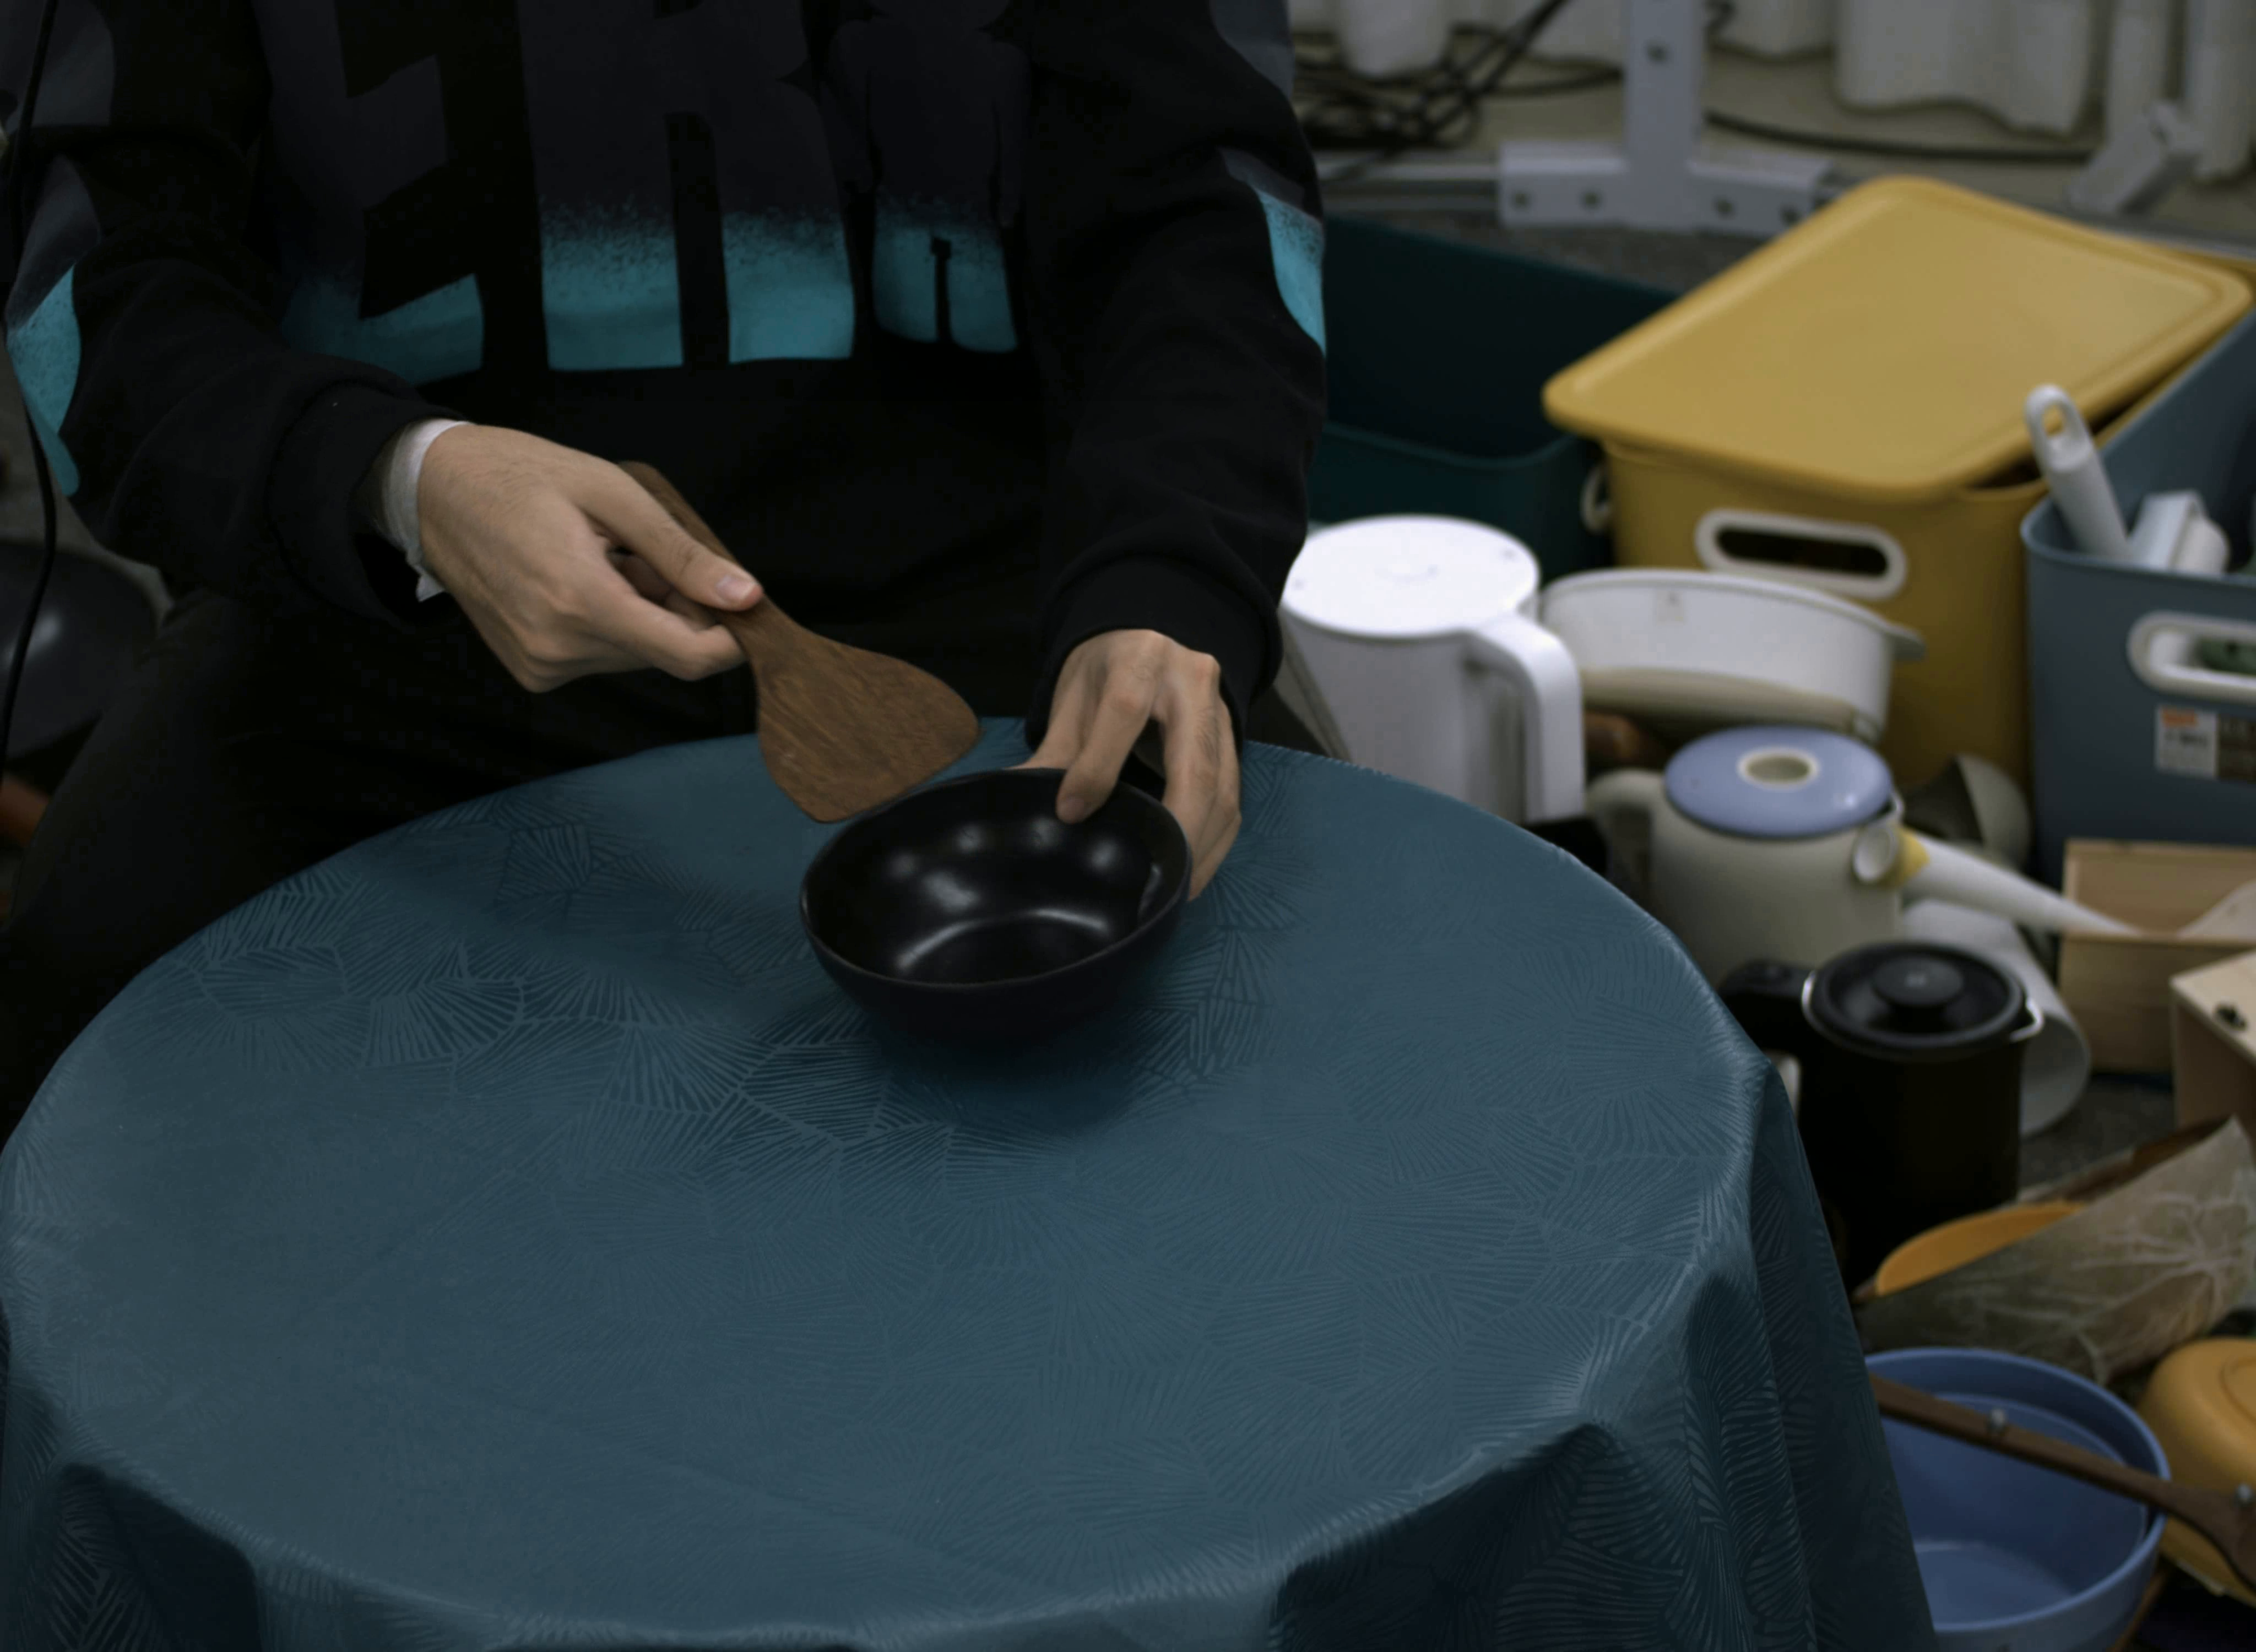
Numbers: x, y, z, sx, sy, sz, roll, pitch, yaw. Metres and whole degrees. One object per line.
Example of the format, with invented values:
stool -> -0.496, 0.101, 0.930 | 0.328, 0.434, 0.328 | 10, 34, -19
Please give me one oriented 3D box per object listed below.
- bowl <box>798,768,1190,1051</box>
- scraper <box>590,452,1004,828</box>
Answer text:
bowl -> -0.043, 0.038, 1.960 | 0.139, 0.049, 0.142 | -8, 31, 5
scraper -> -0.127, -0.070, 1.983 | 0.076, 0.010, 0.213 | -28, 51, -21
